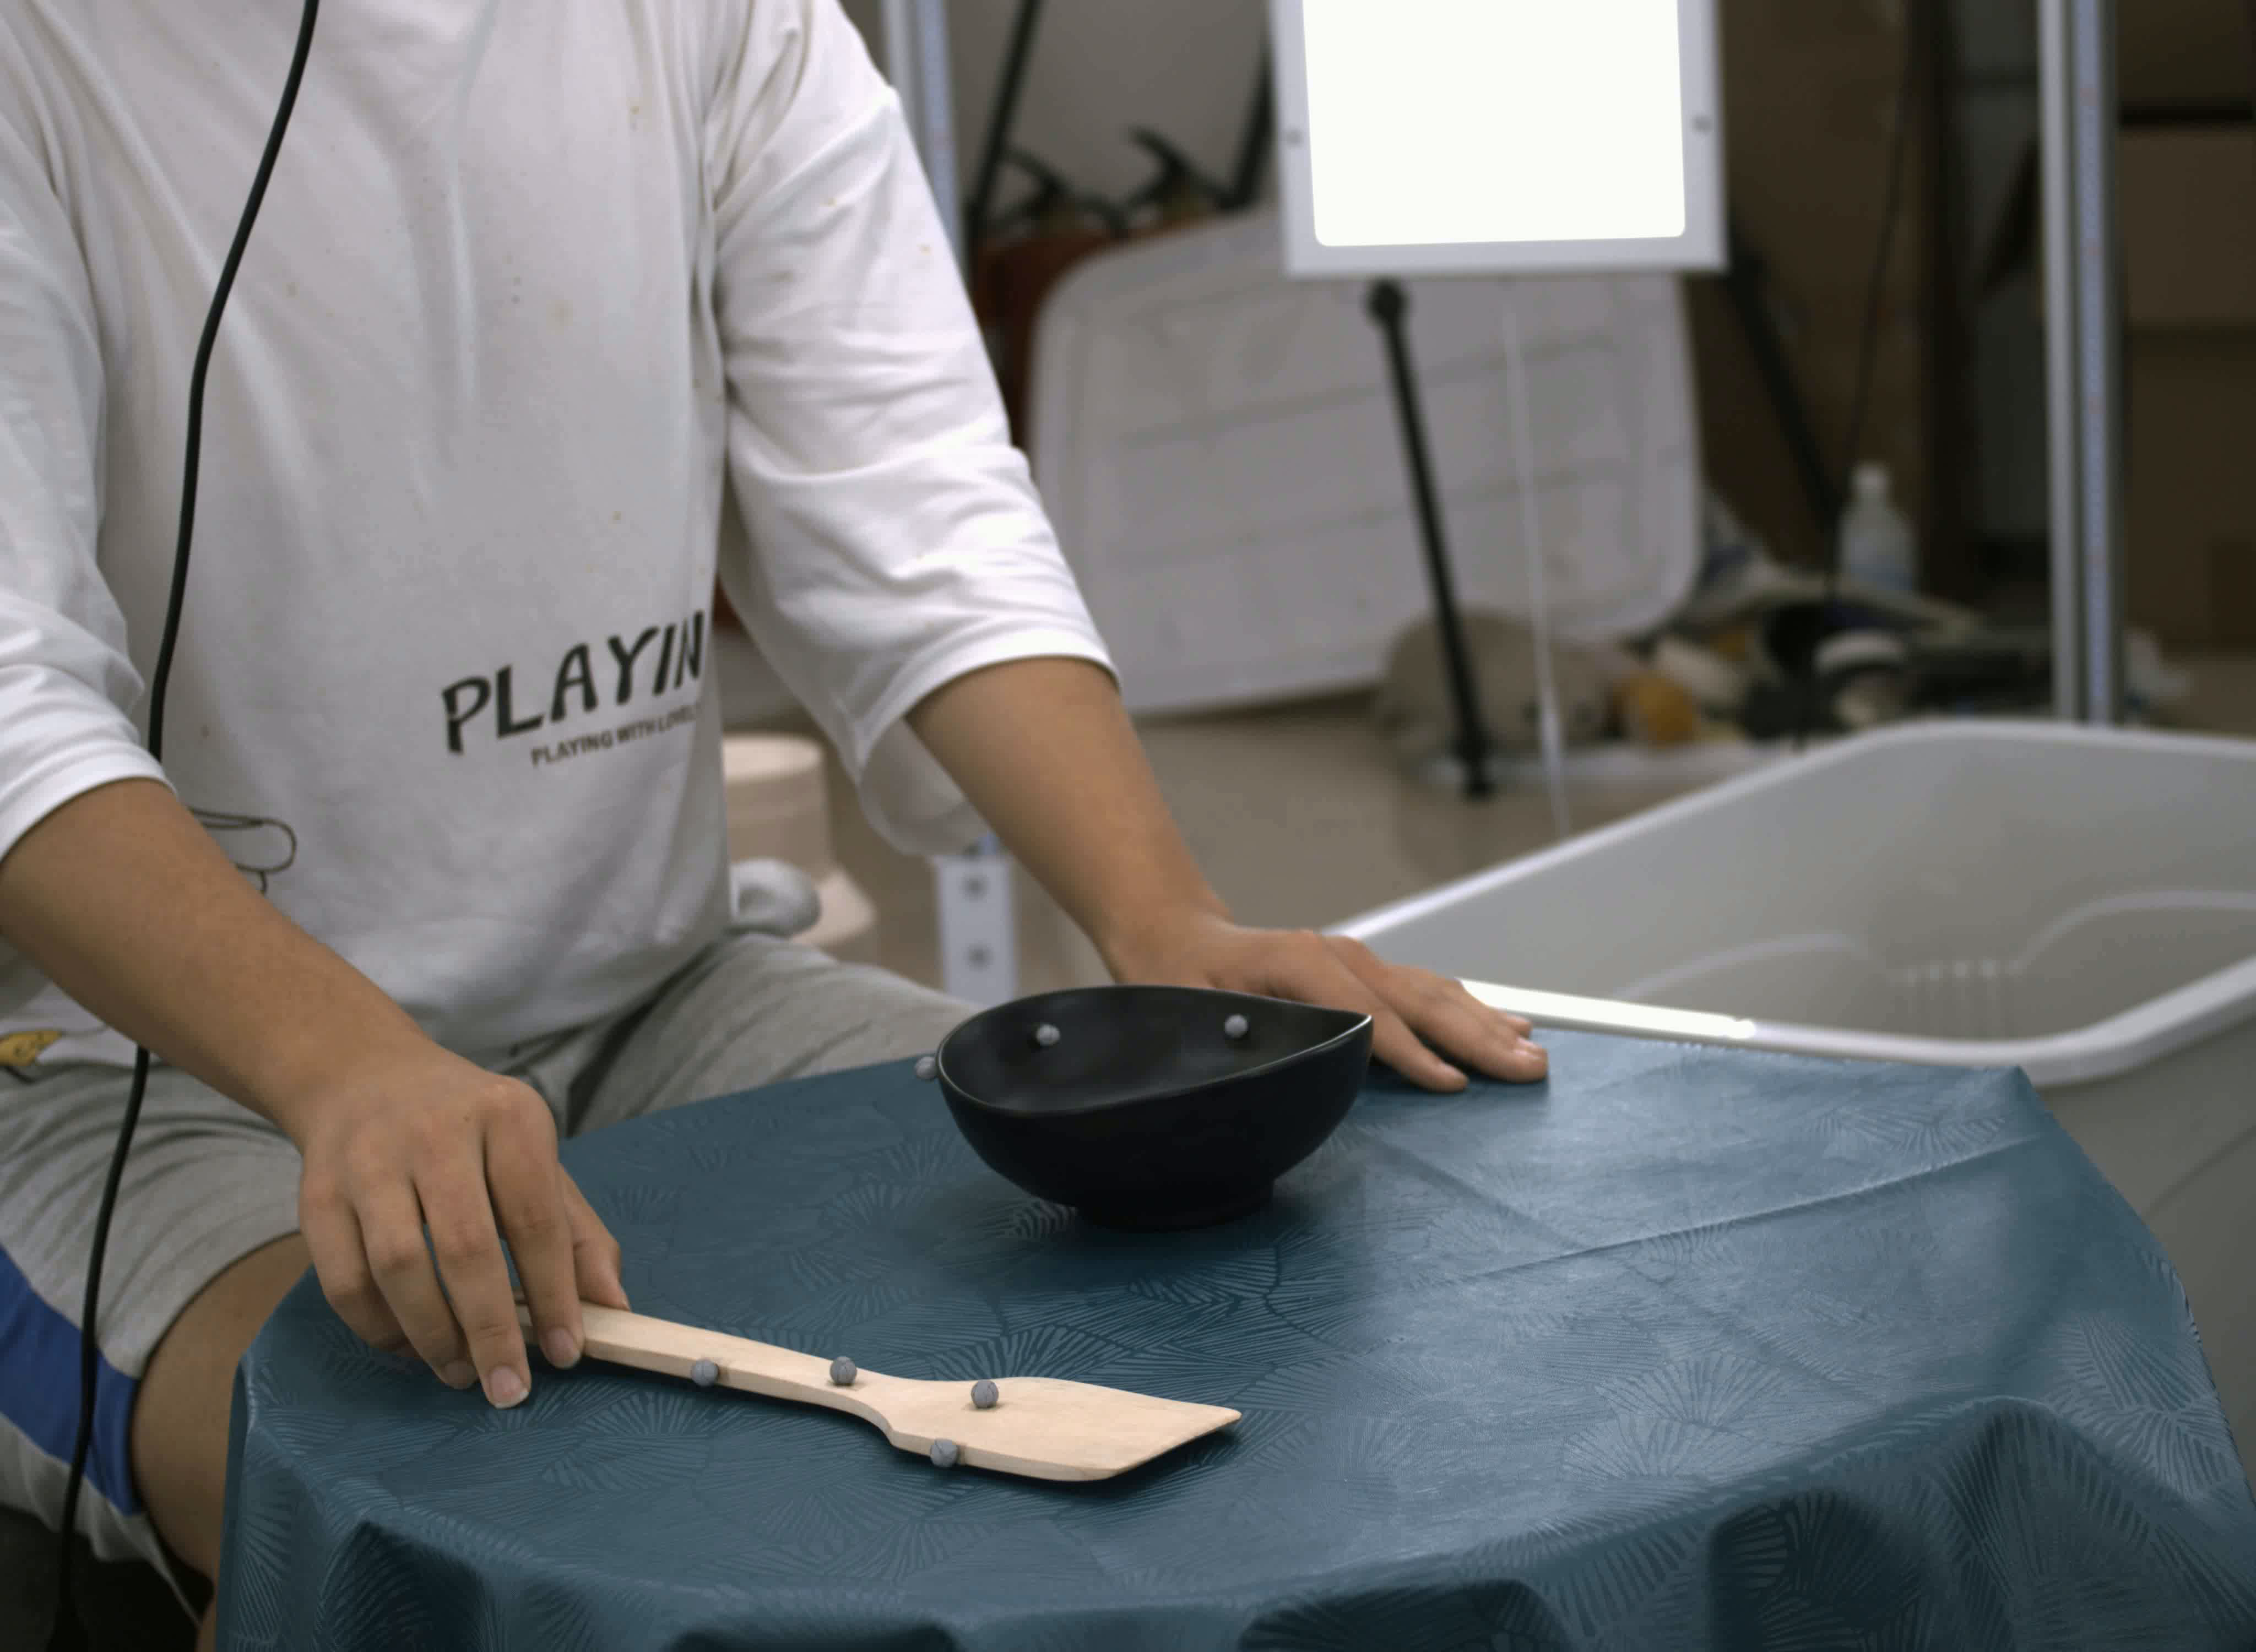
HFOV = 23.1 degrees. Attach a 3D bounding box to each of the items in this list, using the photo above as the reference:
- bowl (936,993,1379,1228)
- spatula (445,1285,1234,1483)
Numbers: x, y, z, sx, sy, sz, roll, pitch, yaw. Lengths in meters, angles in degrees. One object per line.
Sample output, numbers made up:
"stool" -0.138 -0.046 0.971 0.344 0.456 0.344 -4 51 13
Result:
"bowl" 0.013 0.098 1.878 0.140 0.067 0.166 6 15 40
"spatula" -0.102 0.171 1.720 0.299 0.011 0.070 7 16 38
